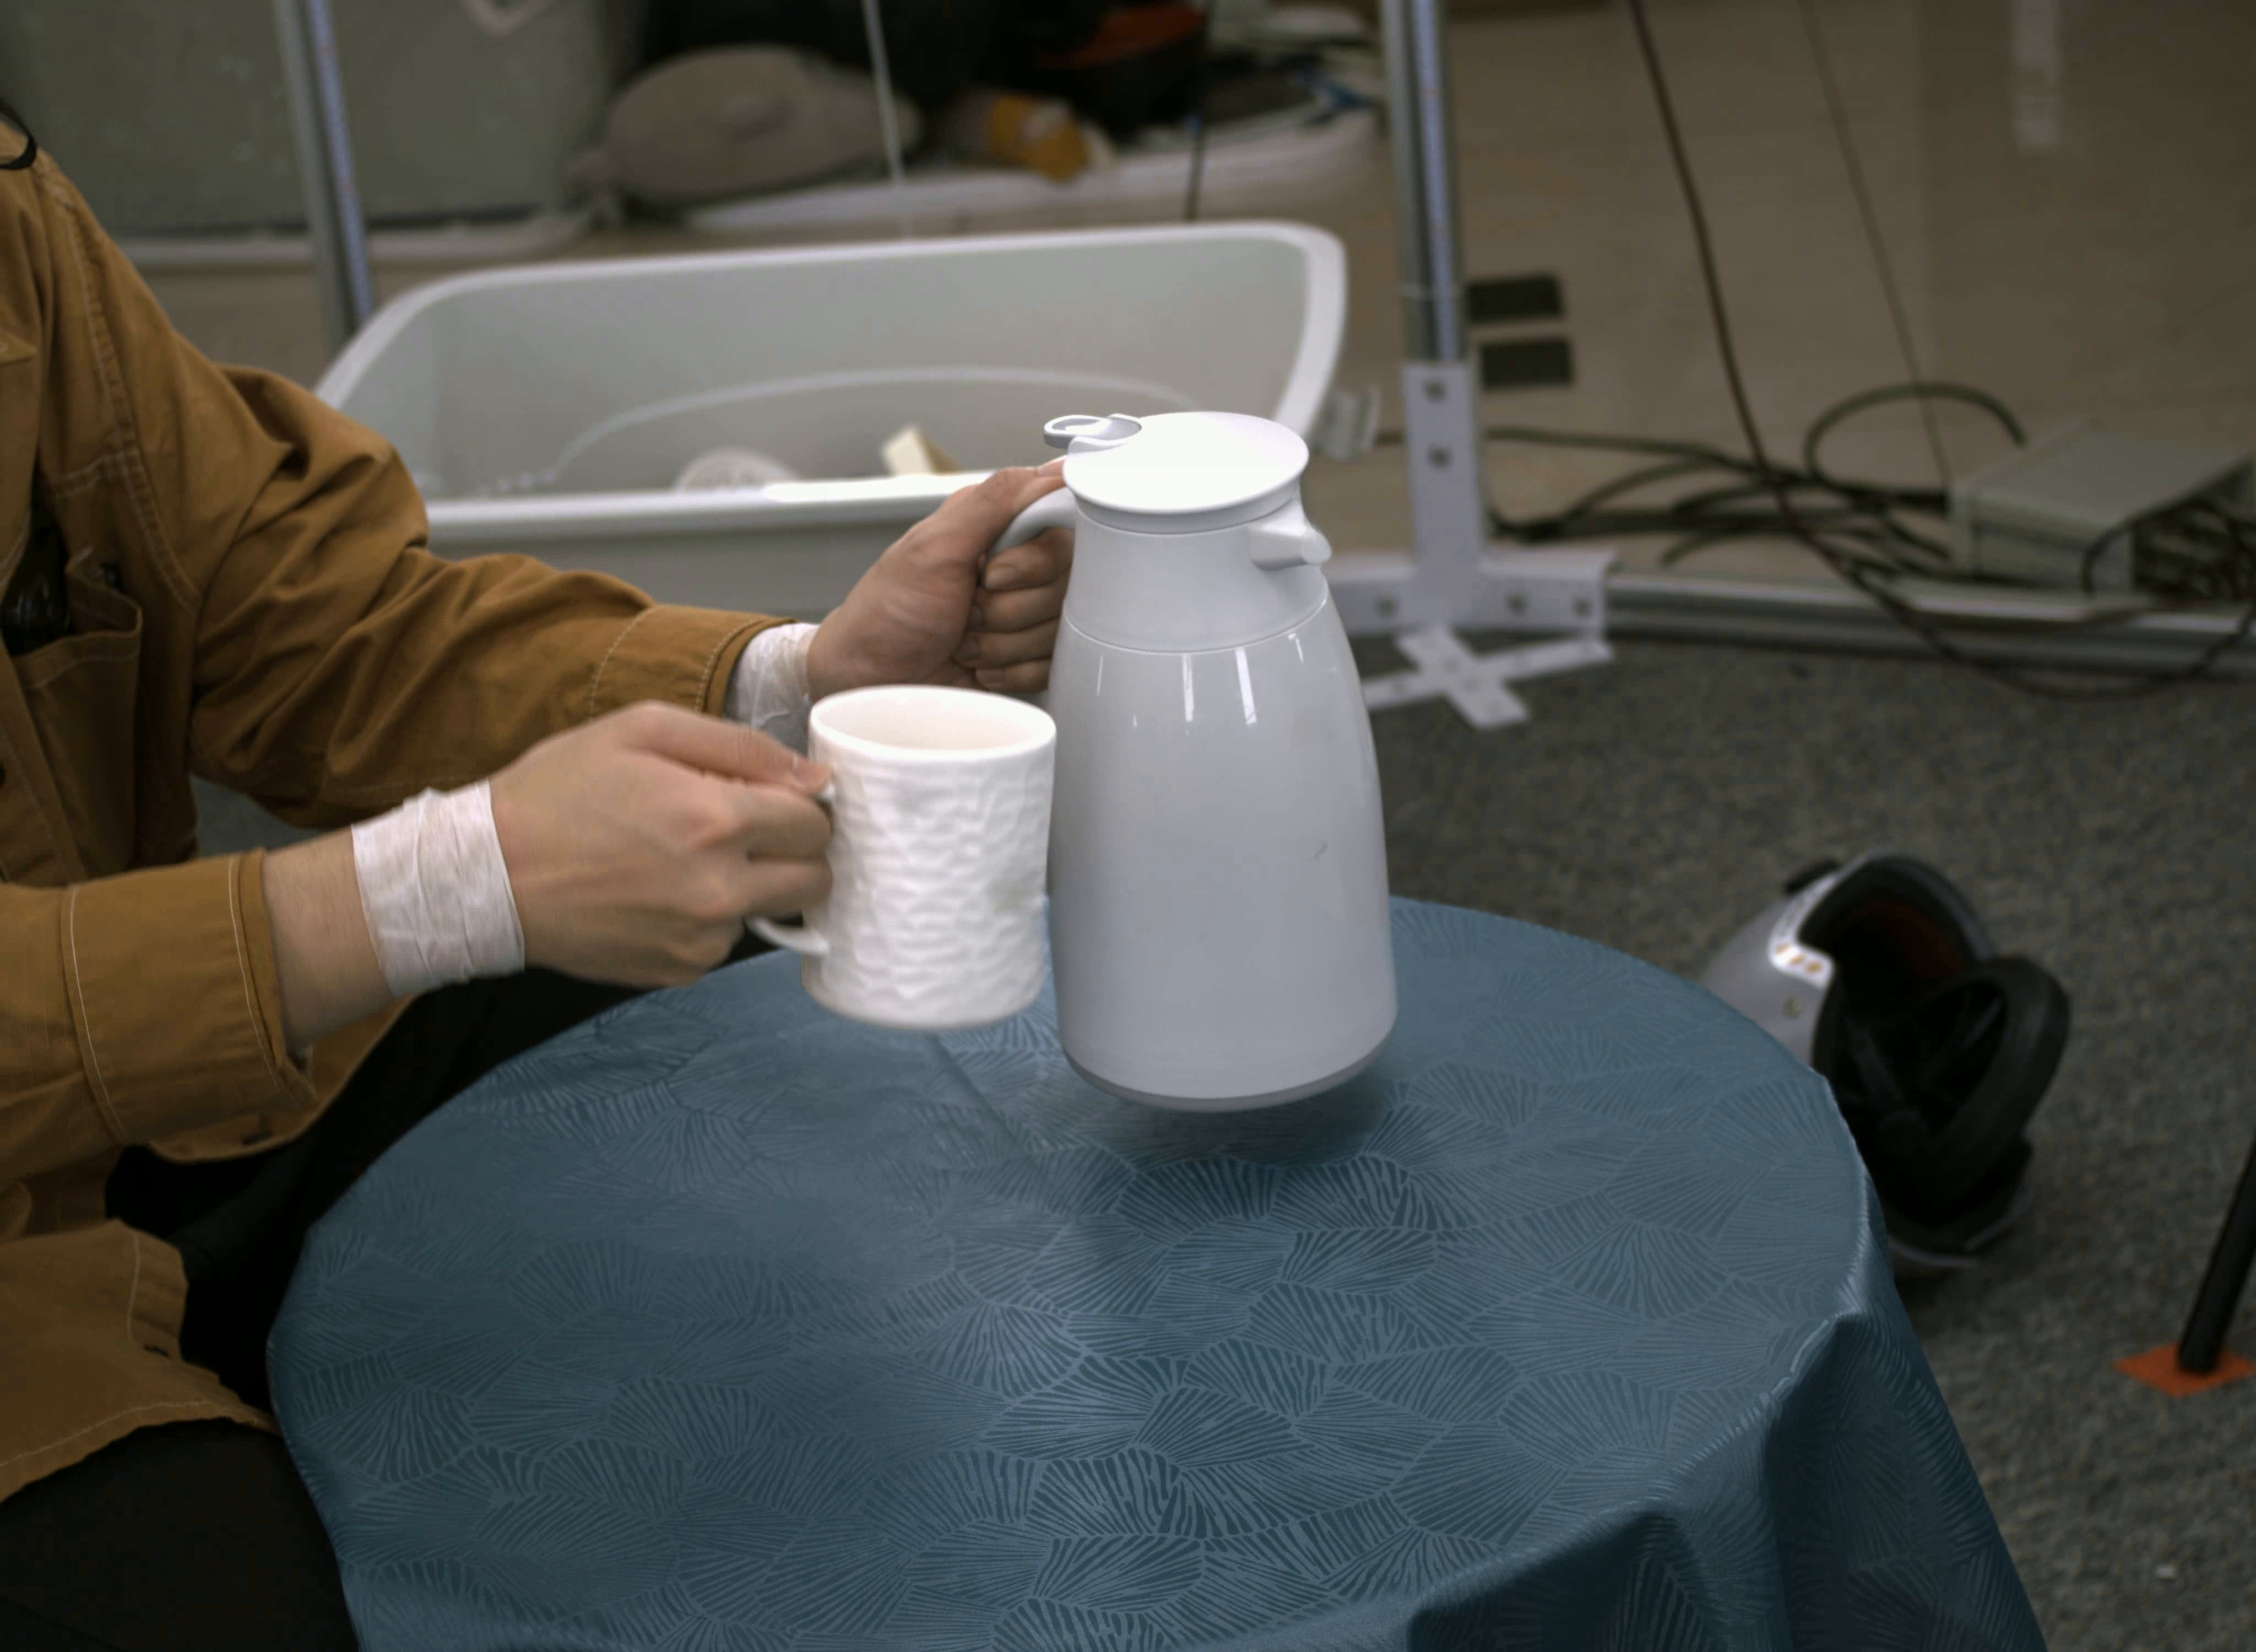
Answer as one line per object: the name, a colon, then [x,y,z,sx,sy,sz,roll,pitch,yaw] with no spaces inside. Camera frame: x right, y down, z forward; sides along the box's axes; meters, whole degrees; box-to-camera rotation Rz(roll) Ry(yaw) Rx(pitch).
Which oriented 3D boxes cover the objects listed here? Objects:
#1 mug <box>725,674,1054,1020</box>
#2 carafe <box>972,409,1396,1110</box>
mug: [-0.085,0.009,1.963,0.118,0.103,0.084,-7,21,-32]
carafe: [0.013,-0.036,2.146,0.166,0.253,0.131,16,35,35]
